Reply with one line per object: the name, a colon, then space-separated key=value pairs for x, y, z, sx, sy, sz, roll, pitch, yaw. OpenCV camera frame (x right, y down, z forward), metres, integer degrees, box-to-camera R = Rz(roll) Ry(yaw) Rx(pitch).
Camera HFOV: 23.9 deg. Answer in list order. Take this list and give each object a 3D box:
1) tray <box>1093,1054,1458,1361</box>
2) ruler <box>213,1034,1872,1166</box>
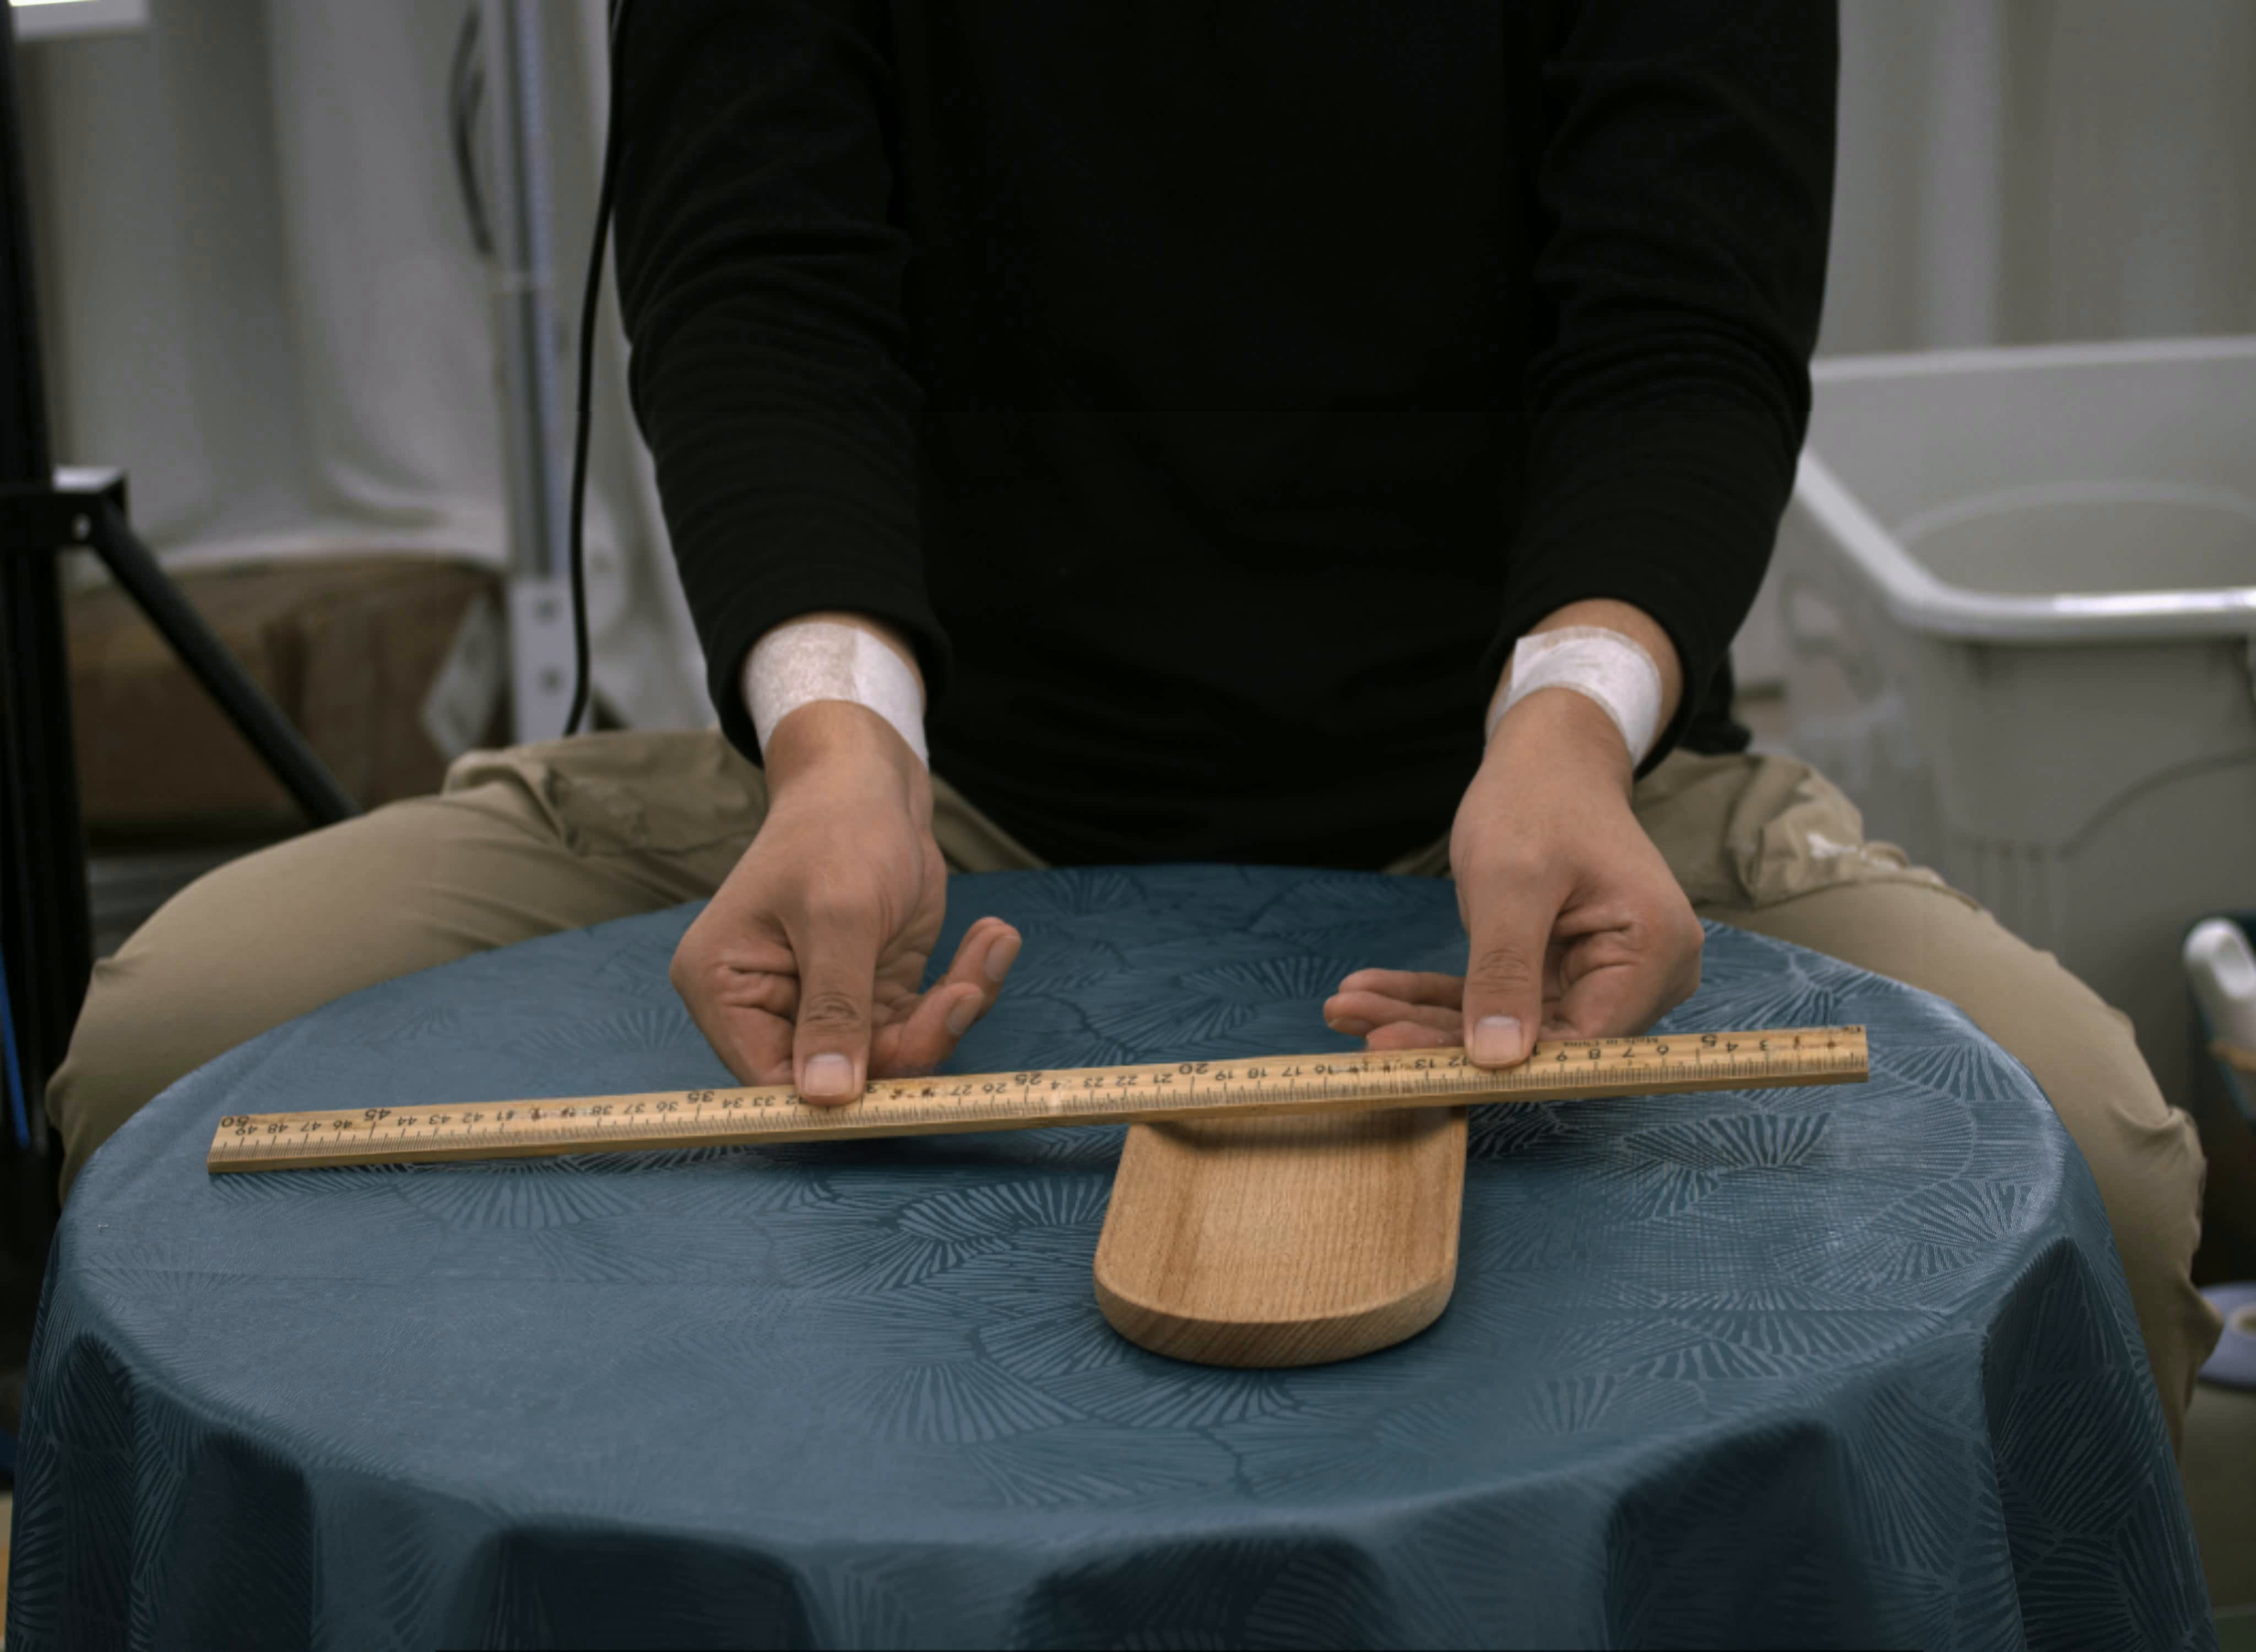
tray: x=0.044 y=0.107 z=1.523 sx=0.101 sy=0.020 sz=0.231 roll=0 pitch=14 yaw=3
ruler: x=-0.030 y=0.082 z=1.586 sx=0.502 sy=0.006 sz=0.027 roll=-3 pitch=29 yaw=10
